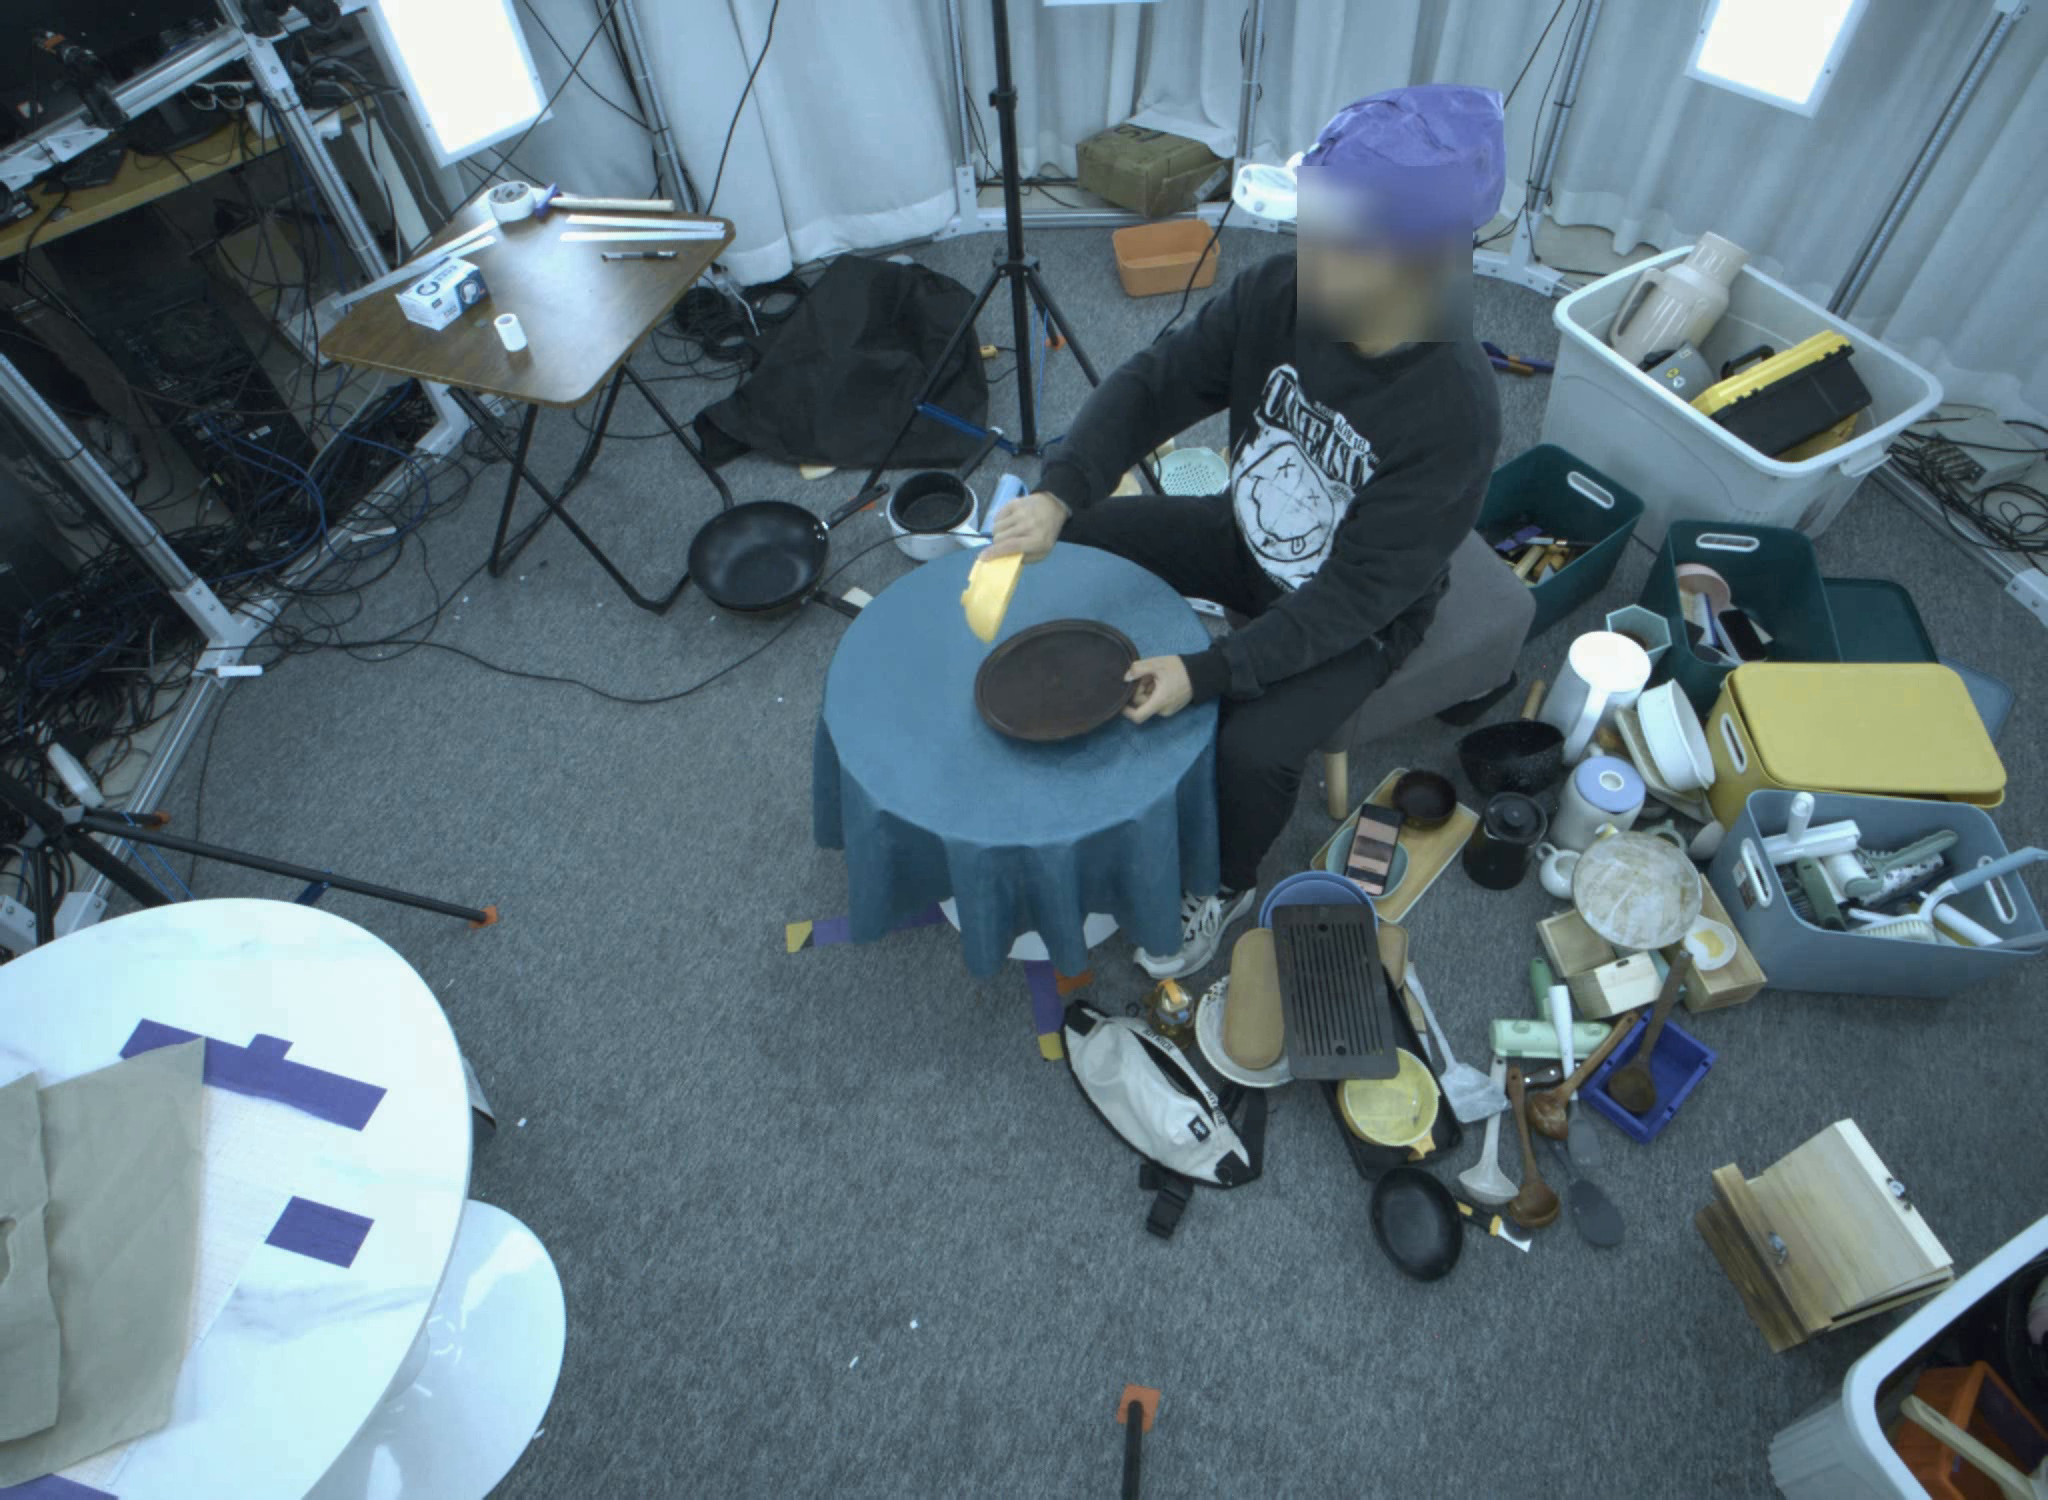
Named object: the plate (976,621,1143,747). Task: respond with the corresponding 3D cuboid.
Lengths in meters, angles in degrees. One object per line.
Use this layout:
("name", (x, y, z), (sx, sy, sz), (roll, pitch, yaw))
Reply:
("plate", (0.052, -0.099, 1.825), (0.253, 0.029, 0.252), (-7, 46, 9))

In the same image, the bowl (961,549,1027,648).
("bowl", (-0.049, -0.216, 1.682), (0.060, 0.145, 0.145), (19, 57, -3))
